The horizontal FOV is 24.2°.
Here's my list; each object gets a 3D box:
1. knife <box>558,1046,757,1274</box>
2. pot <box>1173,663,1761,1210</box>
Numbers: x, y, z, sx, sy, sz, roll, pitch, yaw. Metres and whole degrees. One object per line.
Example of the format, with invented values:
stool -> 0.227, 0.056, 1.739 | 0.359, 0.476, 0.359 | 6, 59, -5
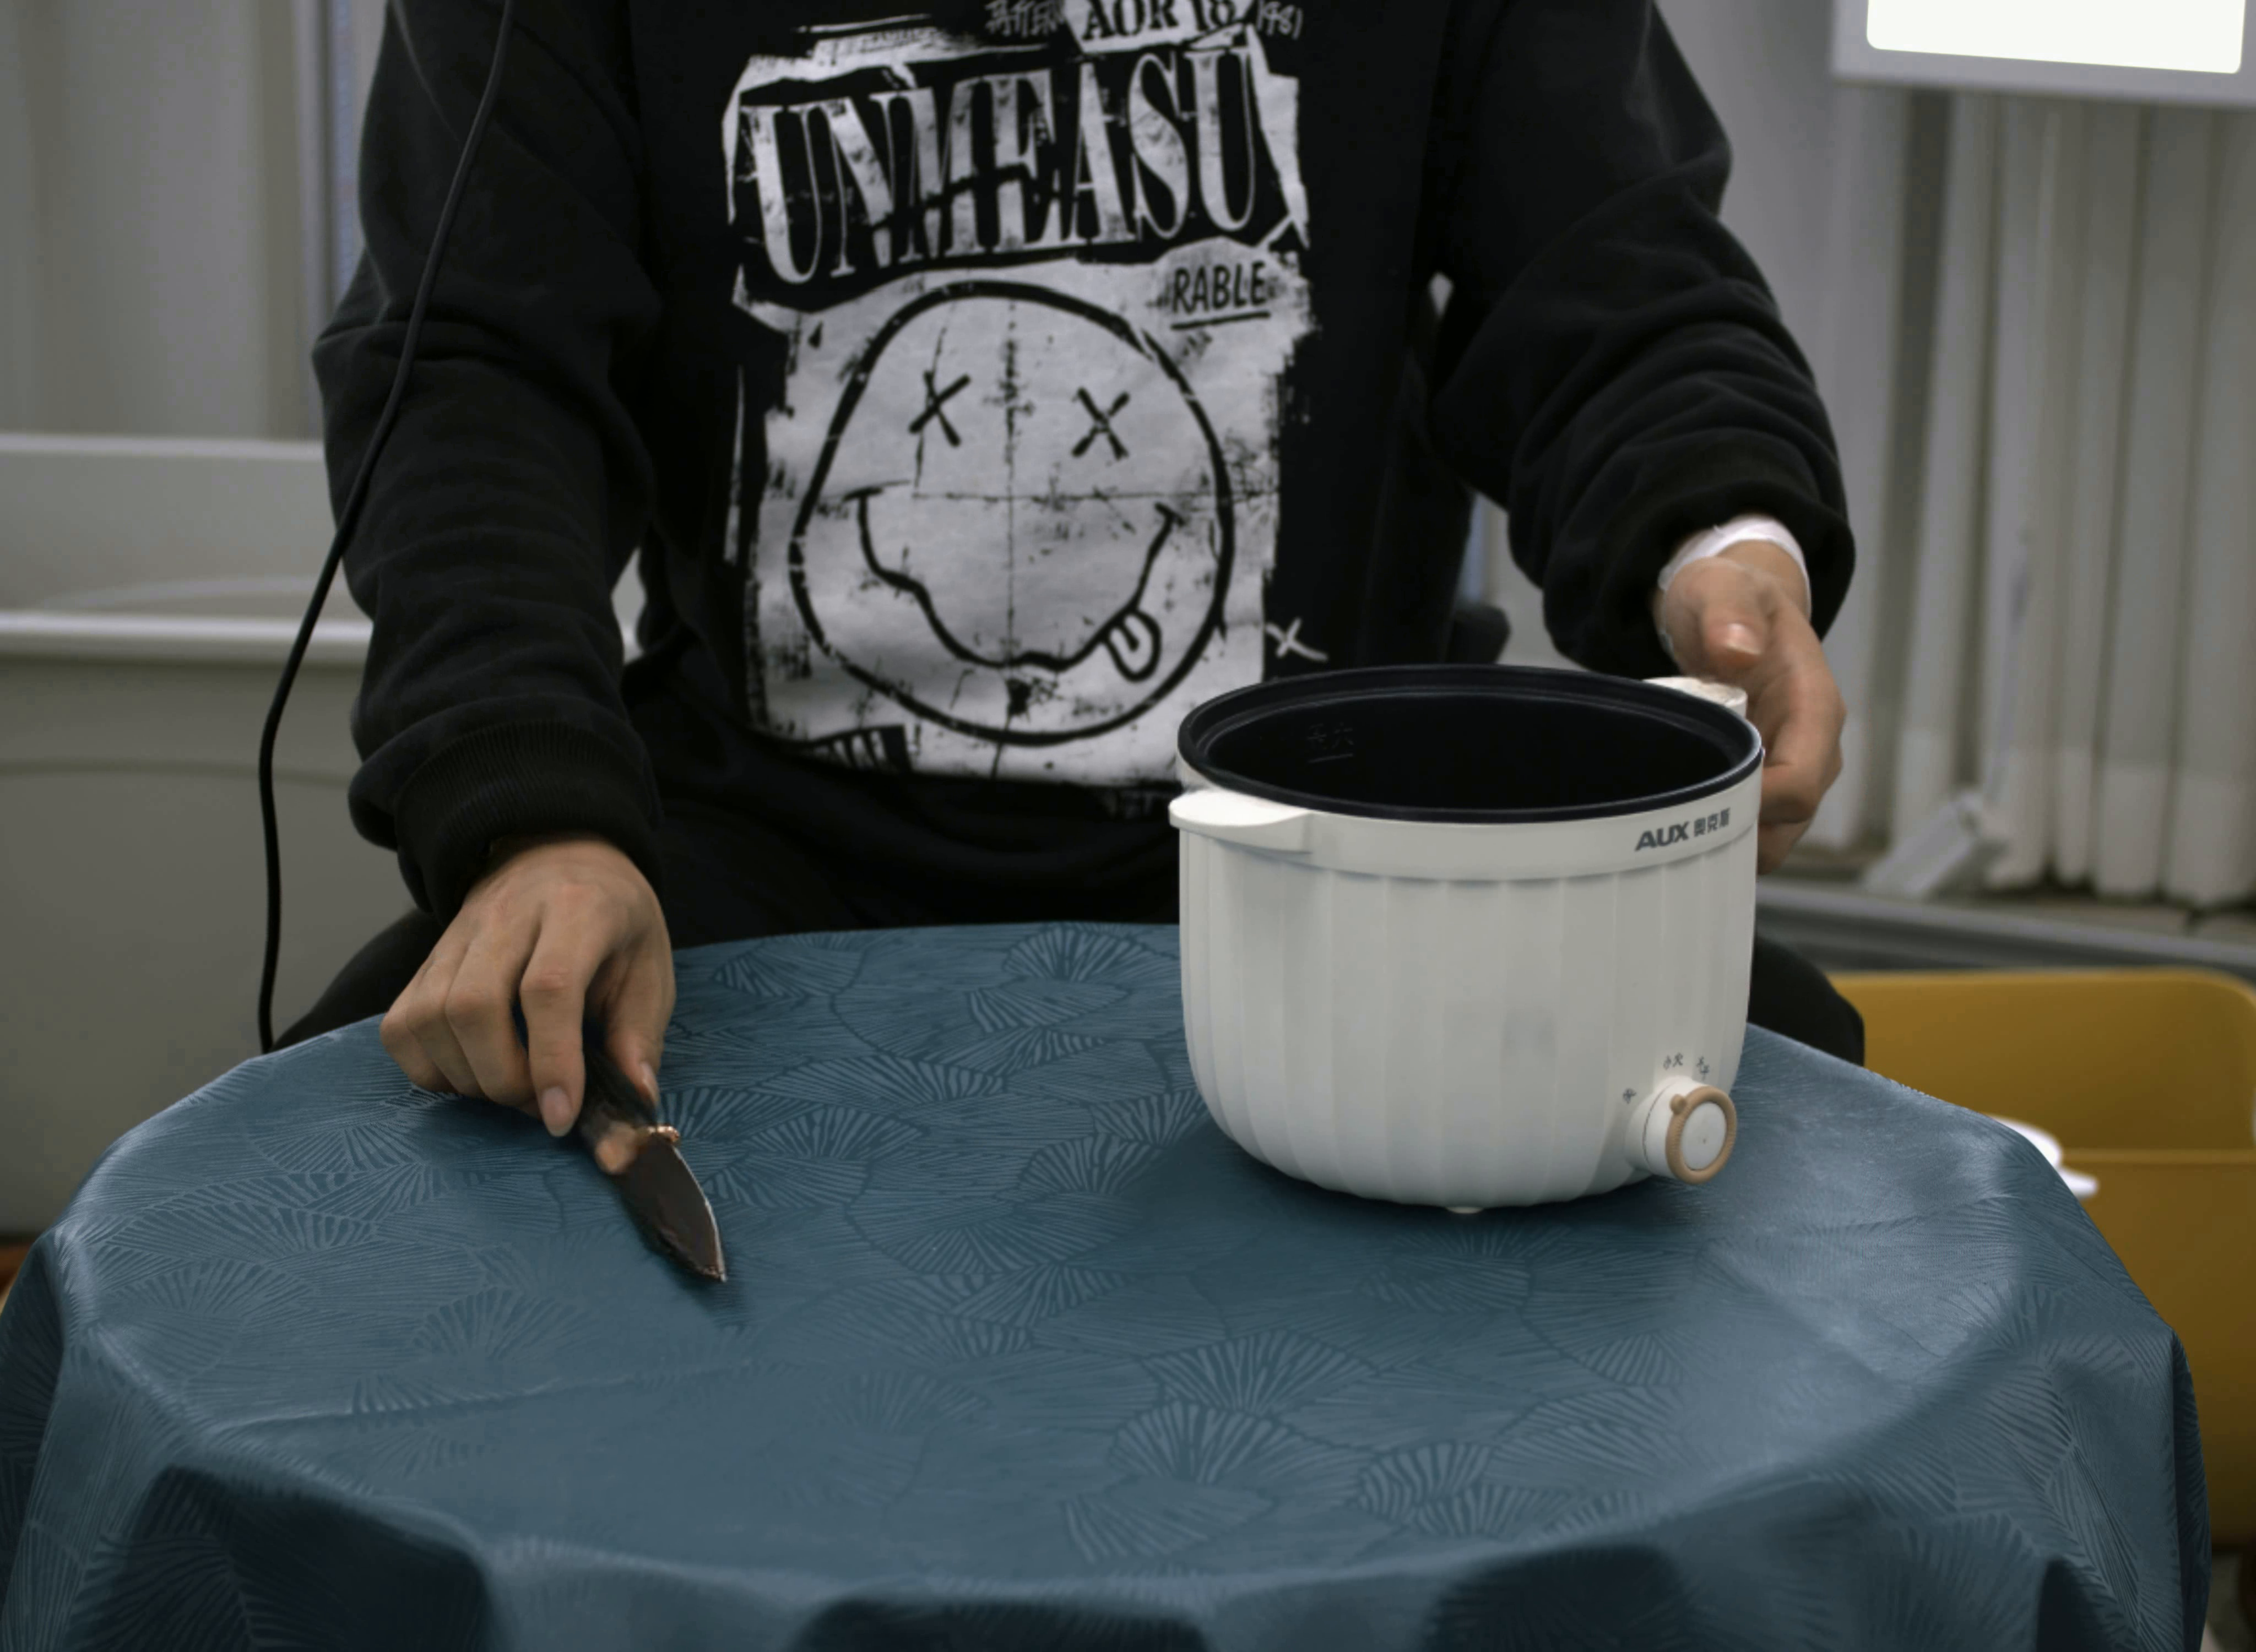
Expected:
knife -> -0.147, 0.104, 1.616 | 0.026, 0.017, 0.223 | -22, 19, -11
pot -> 0.110, 0.036, 1.641 | 0.241, 0.144, 0.188 | -16, 20, -42
